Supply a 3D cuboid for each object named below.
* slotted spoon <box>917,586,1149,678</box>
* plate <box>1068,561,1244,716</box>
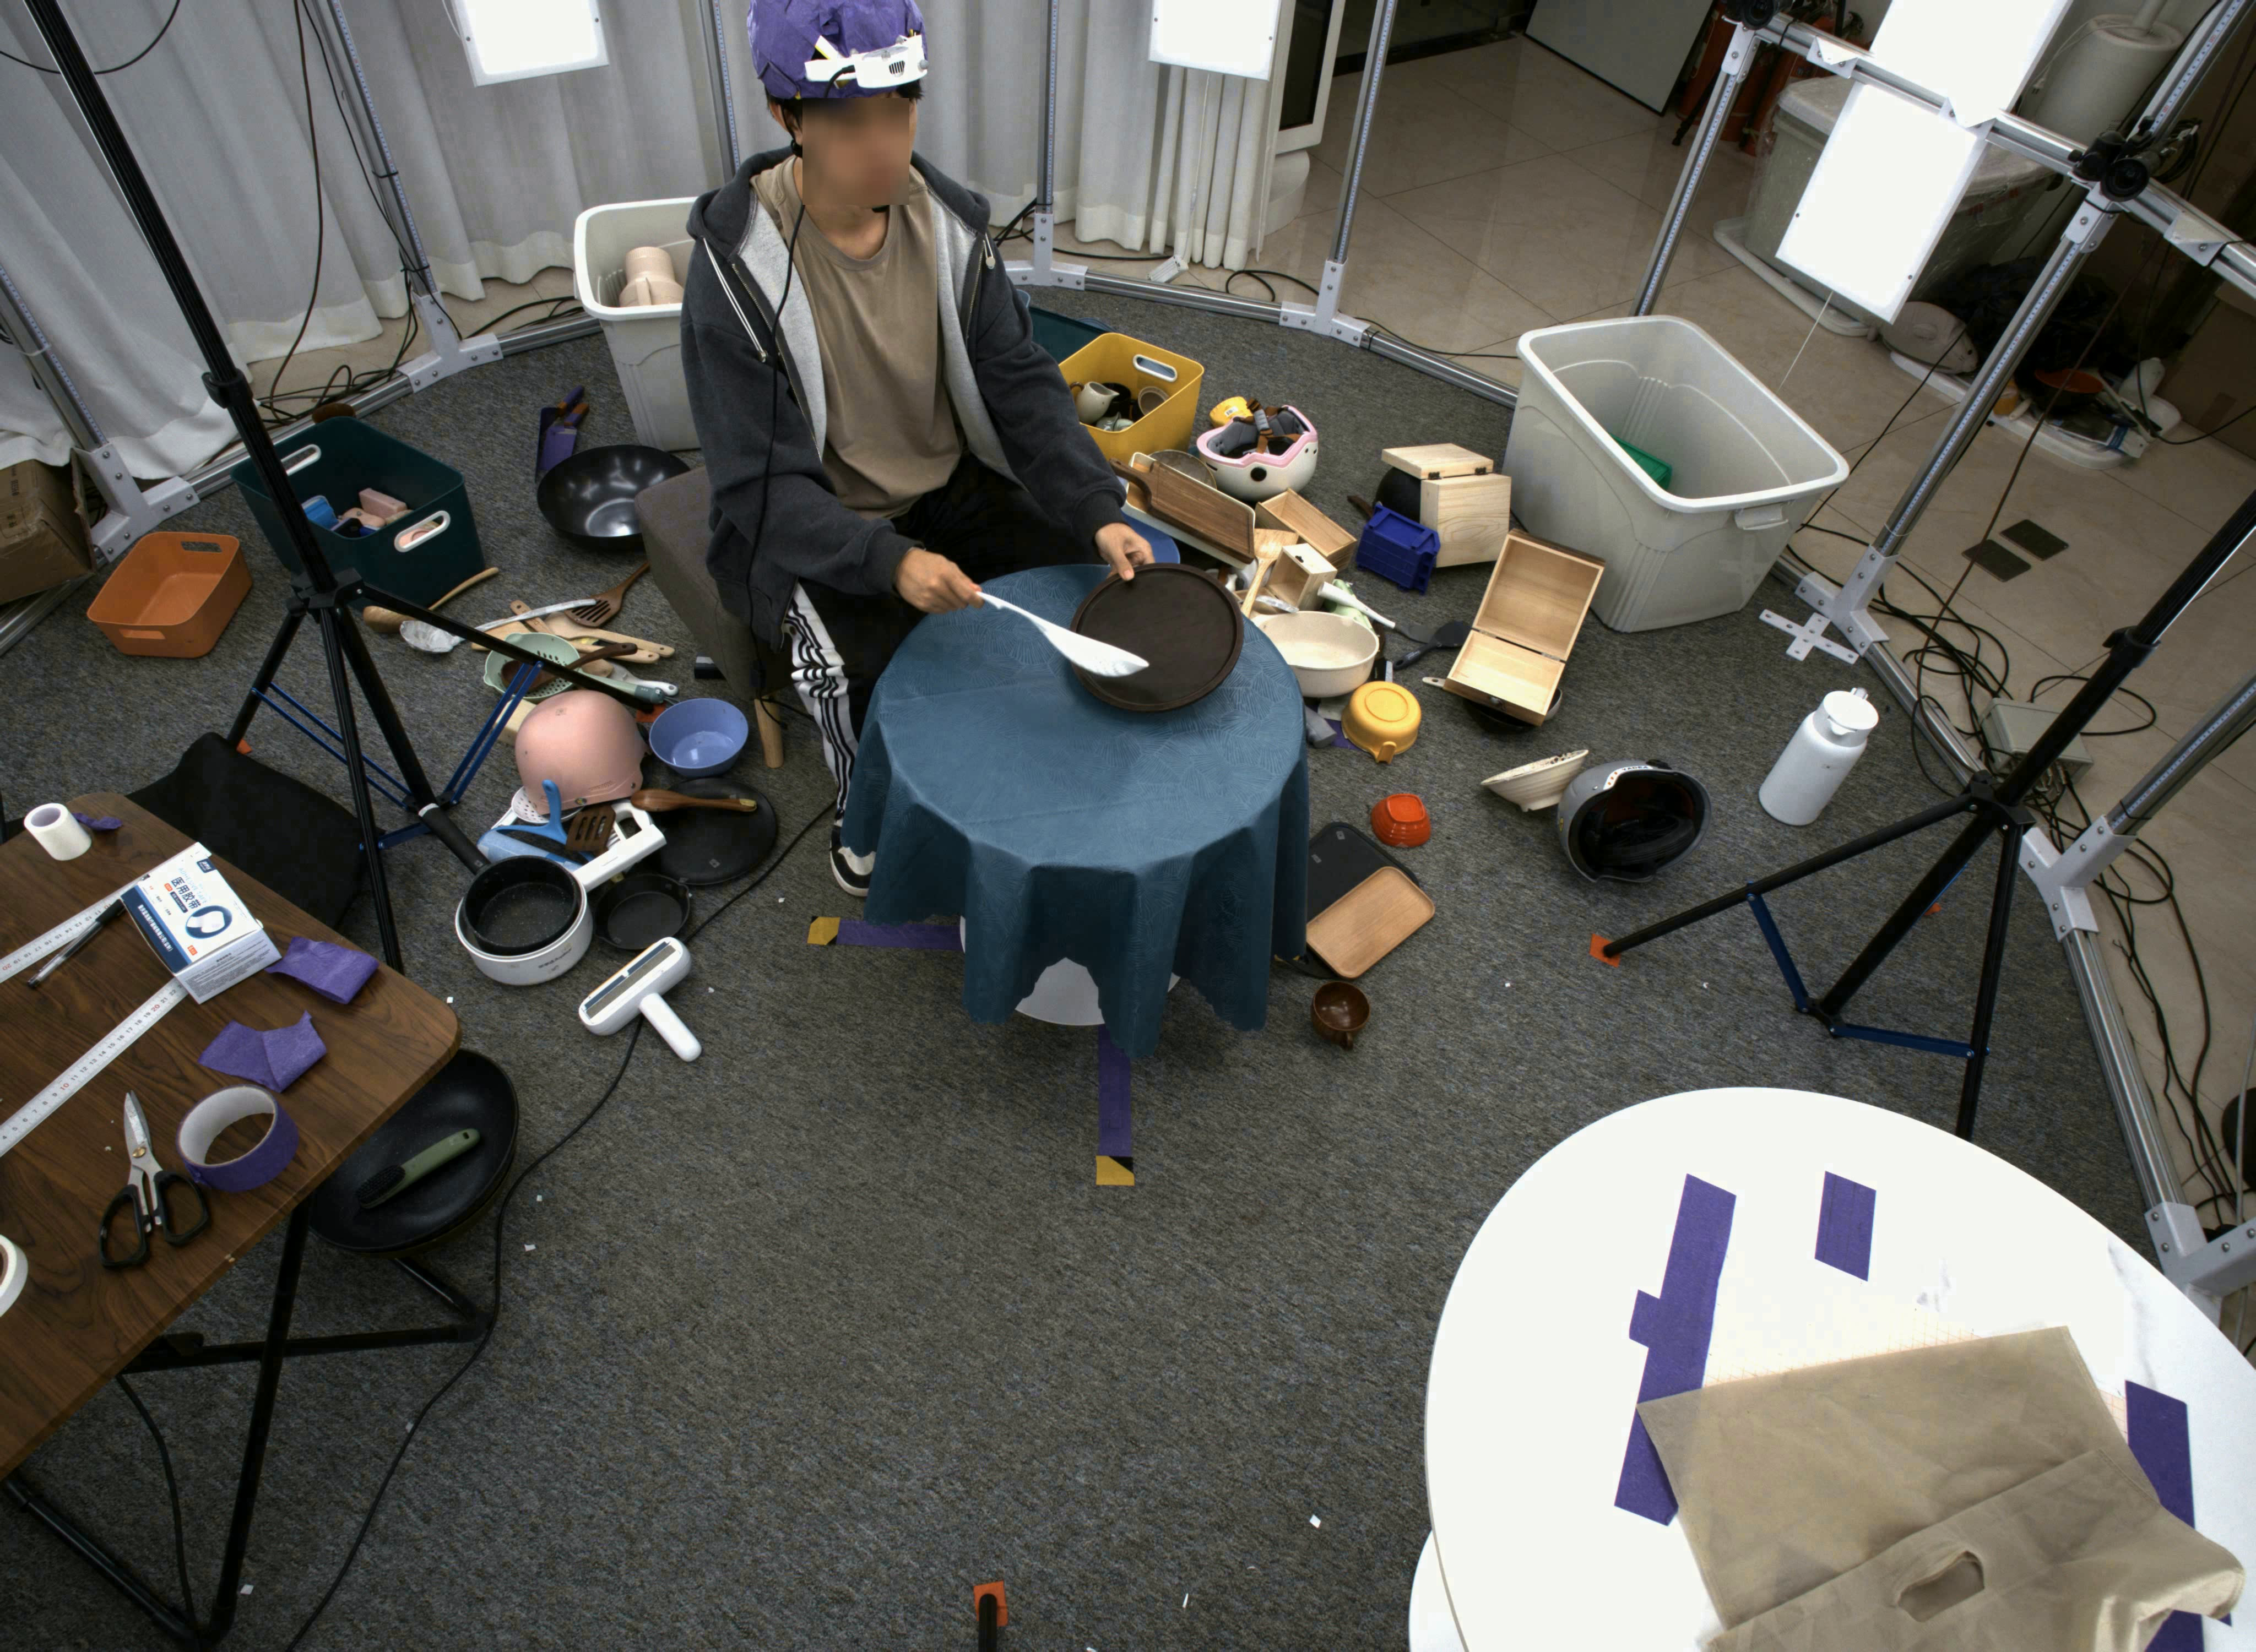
[{"bbox_3d":[-0.134,-0.273,1.745,0.351,0.050,0.136,29,13,19],"label":"slotted spoon"},{"bbox_3d":[0.039,-0.266,1.833,0.255,0.028,0.260,-4,62,9],"label":"plate"}]
